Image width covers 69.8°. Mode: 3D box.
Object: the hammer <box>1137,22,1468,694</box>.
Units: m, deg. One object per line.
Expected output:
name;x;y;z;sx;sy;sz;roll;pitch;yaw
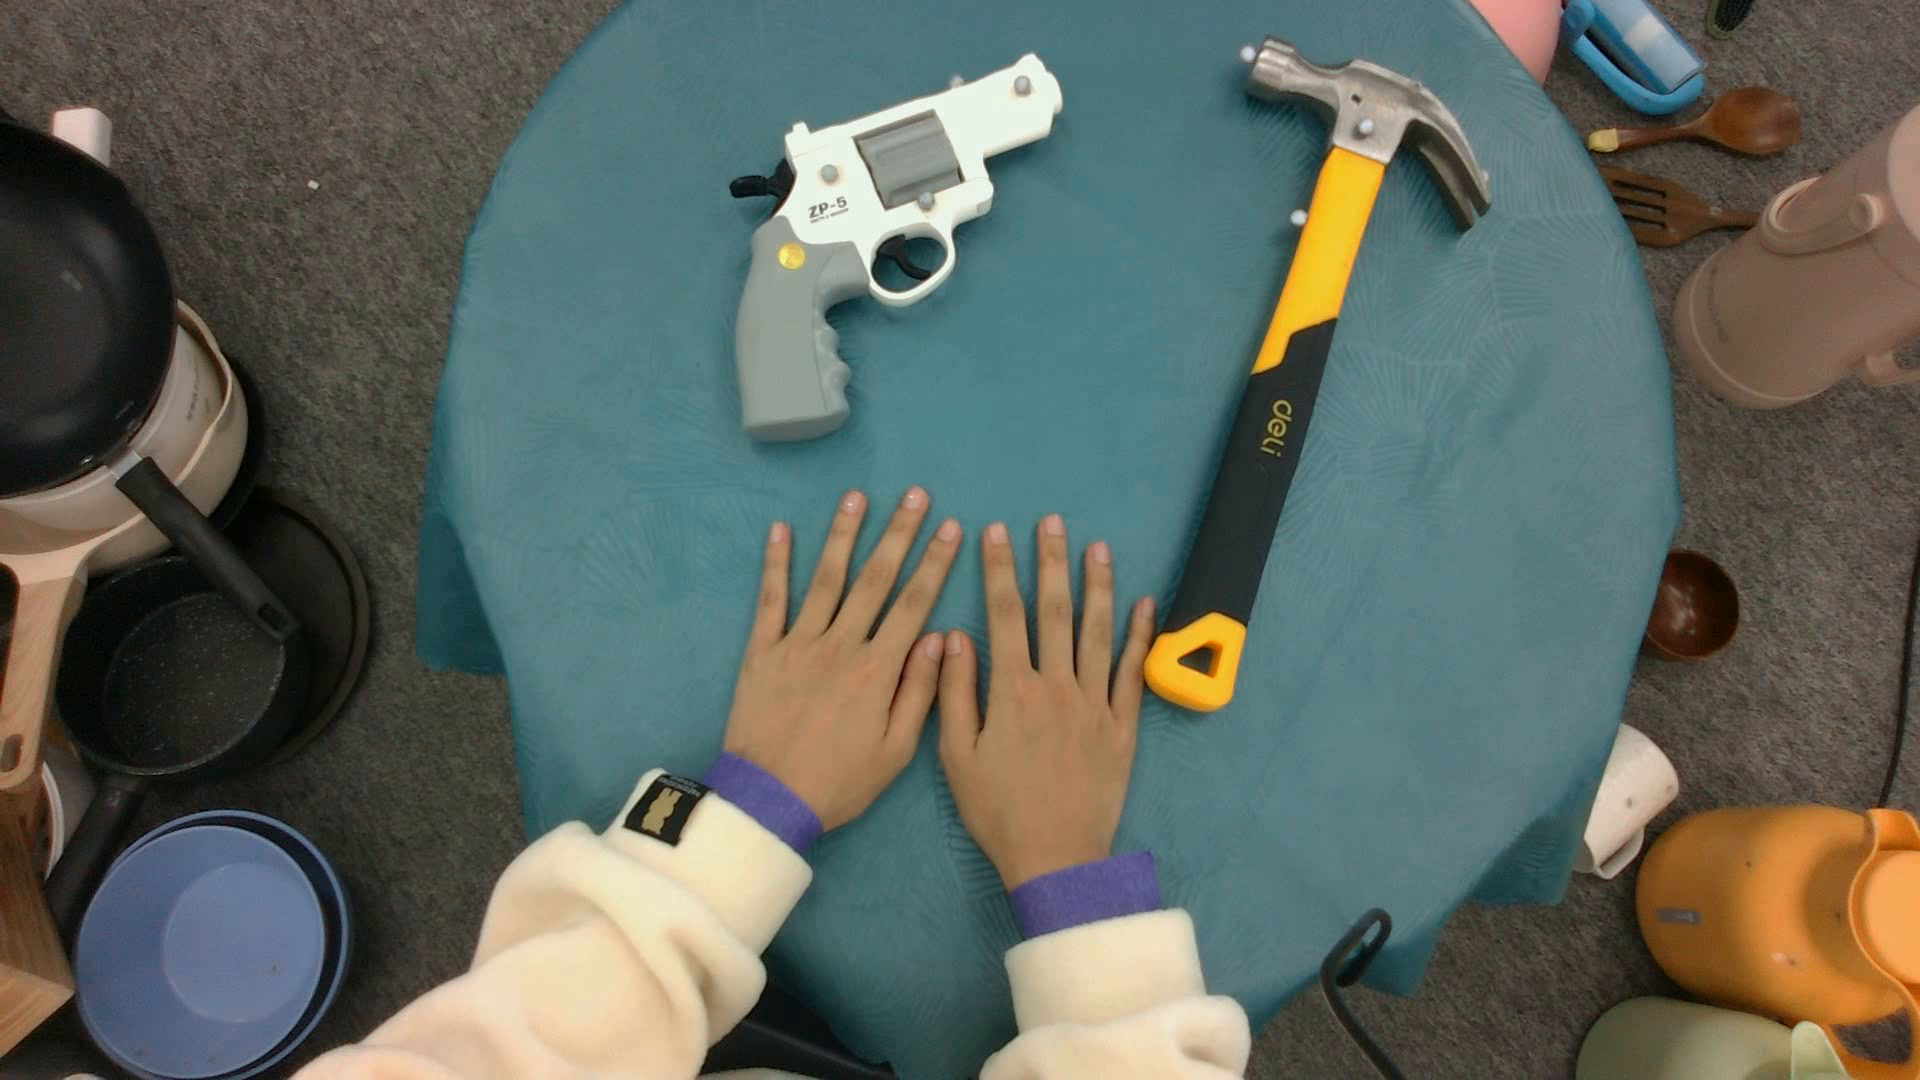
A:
hammer;0.151;-0.088;0.661;0.131;0.032;0.339;20;75;-2

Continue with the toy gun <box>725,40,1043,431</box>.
toy gun;-0.035;-0.149;0.660;0.209;0.038;0.142;-25;79;-10
